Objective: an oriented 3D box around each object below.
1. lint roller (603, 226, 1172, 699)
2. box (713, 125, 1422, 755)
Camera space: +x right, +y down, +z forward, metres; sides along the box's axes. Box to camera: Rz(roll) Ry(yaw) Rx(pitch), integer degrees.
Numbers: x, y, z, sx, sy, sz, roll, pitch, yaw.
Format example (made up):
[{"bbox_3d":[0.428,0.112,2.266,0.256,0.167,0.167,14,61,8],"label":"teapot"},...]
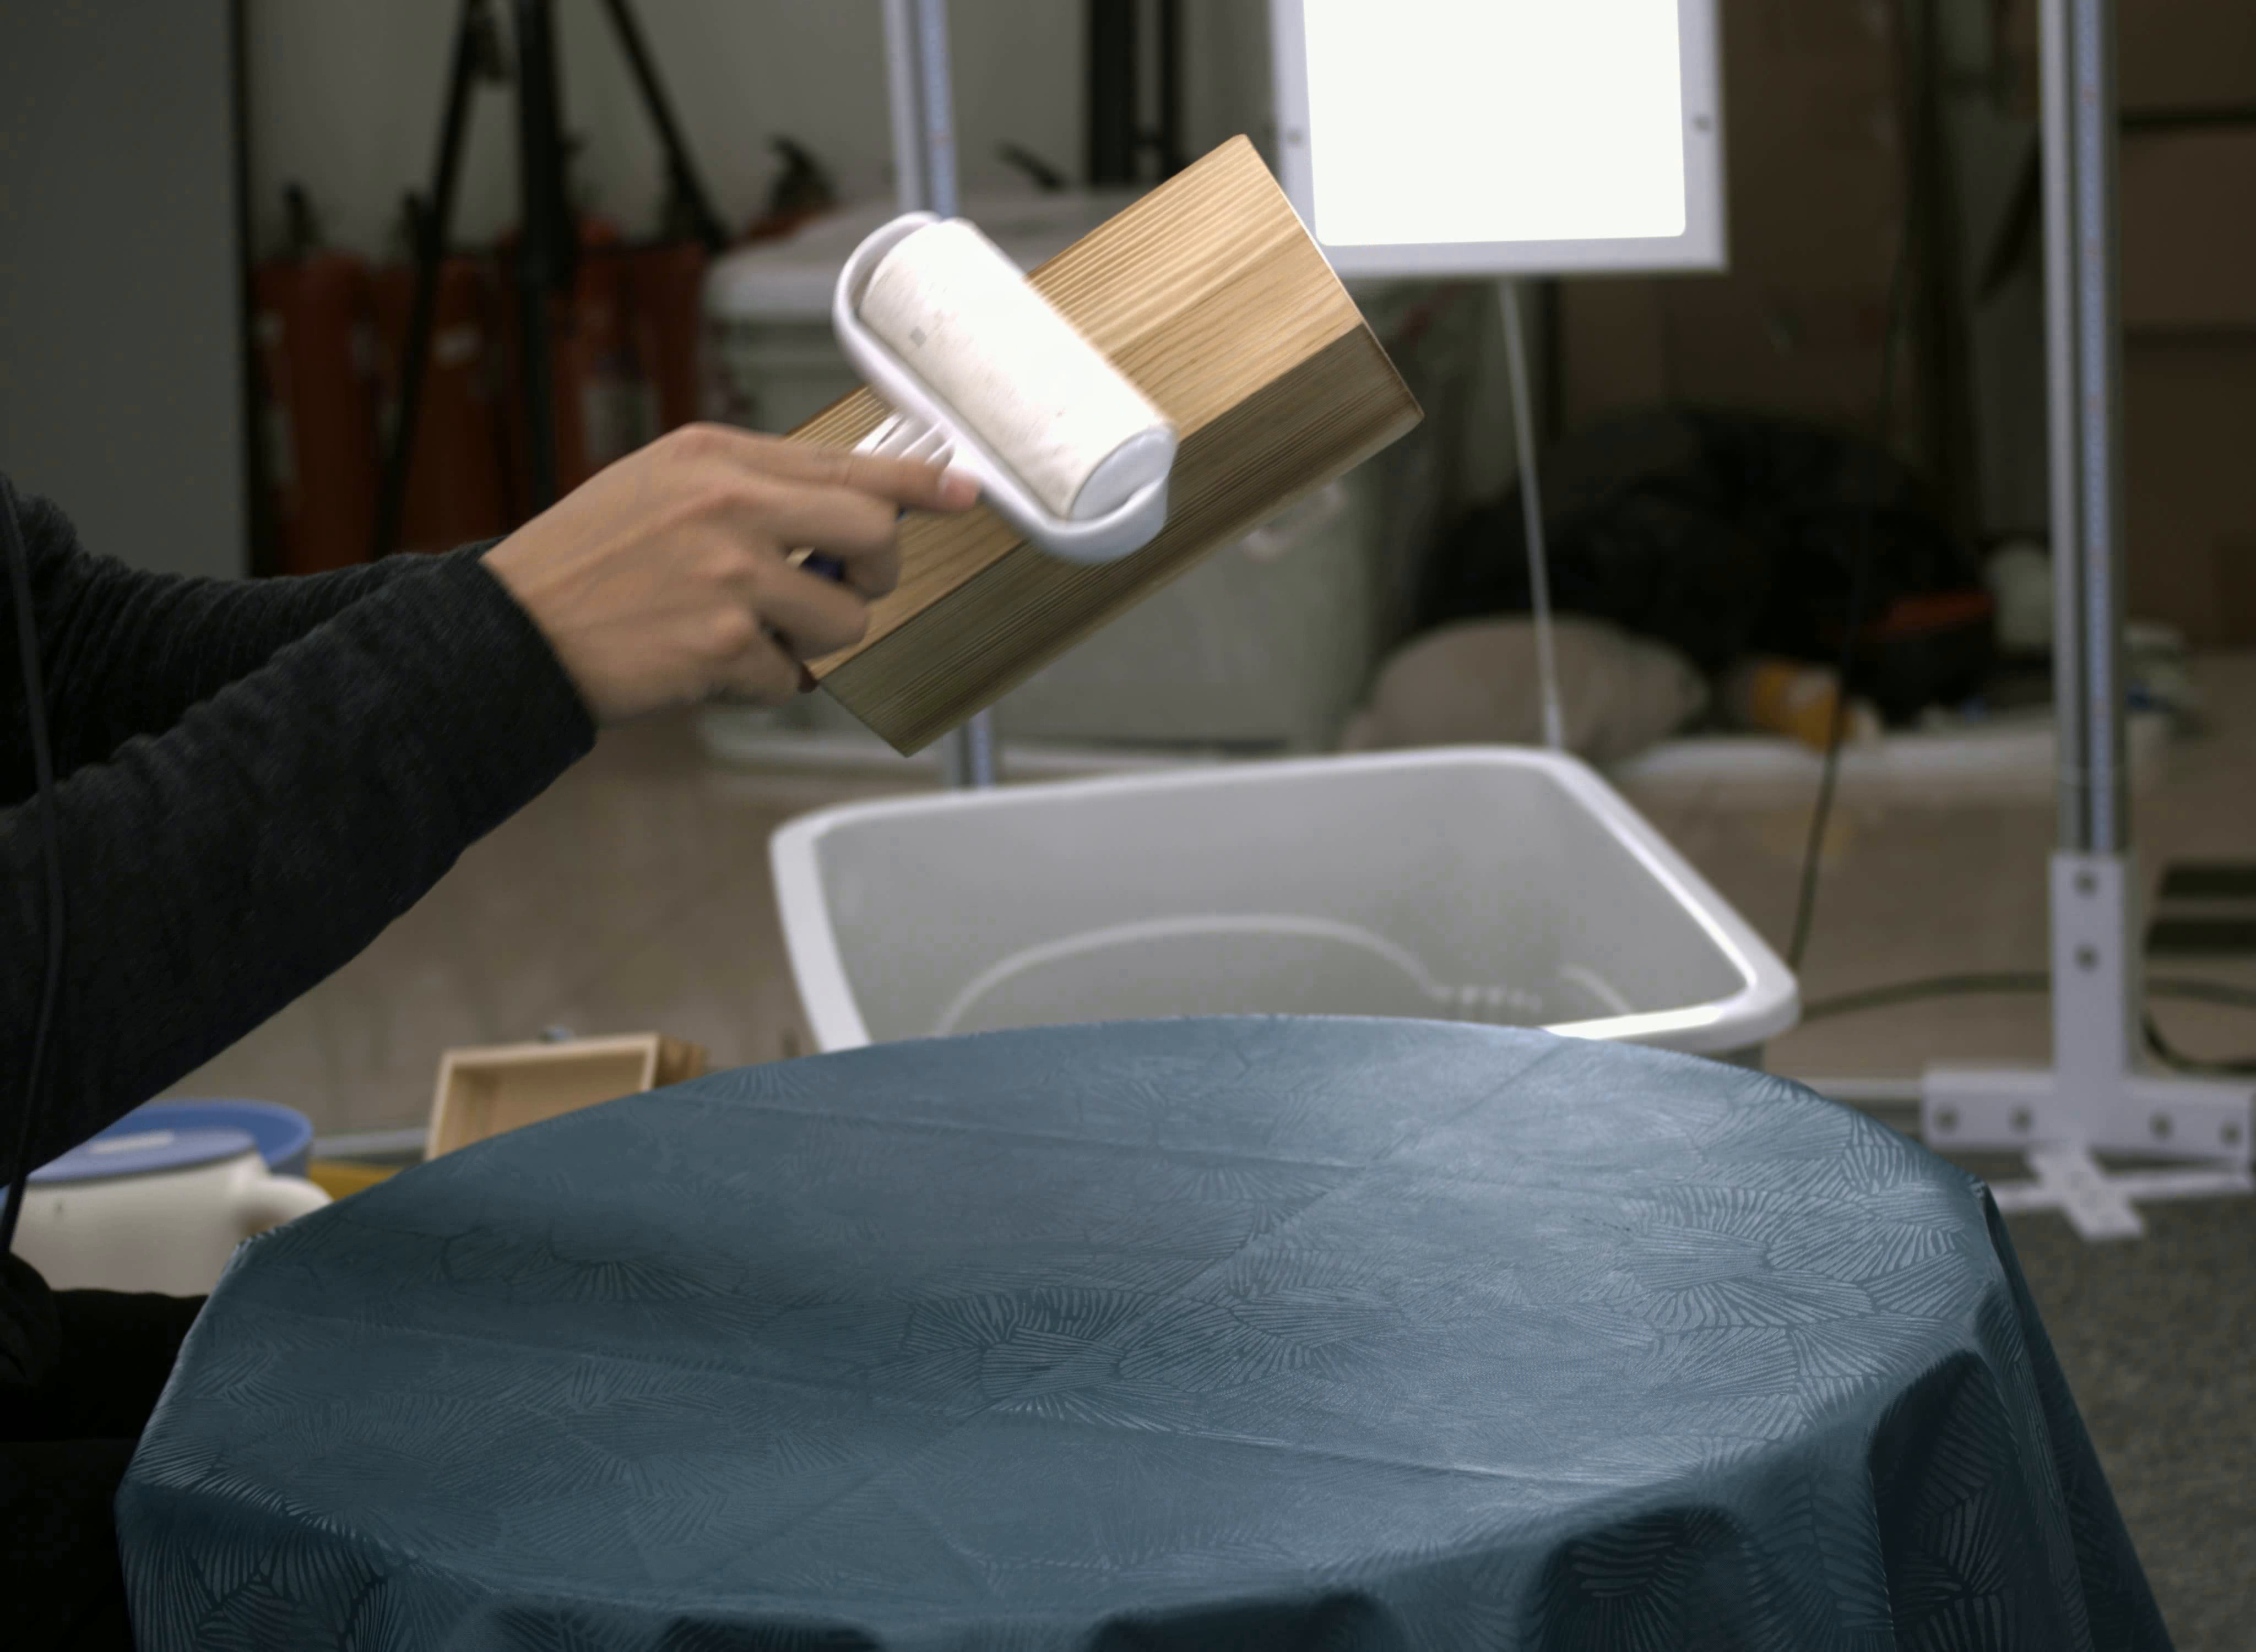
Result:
[{"bbox_3d":[-0.088,-0.101,1.681,0.178,0.050,0.134,-33,68,-22],"label":"lint roller"},{"bbox_3d":[-0.018,-0.125,1.816,0.212,0.081,0.106,-34,-19,6],"label":"box"}]
